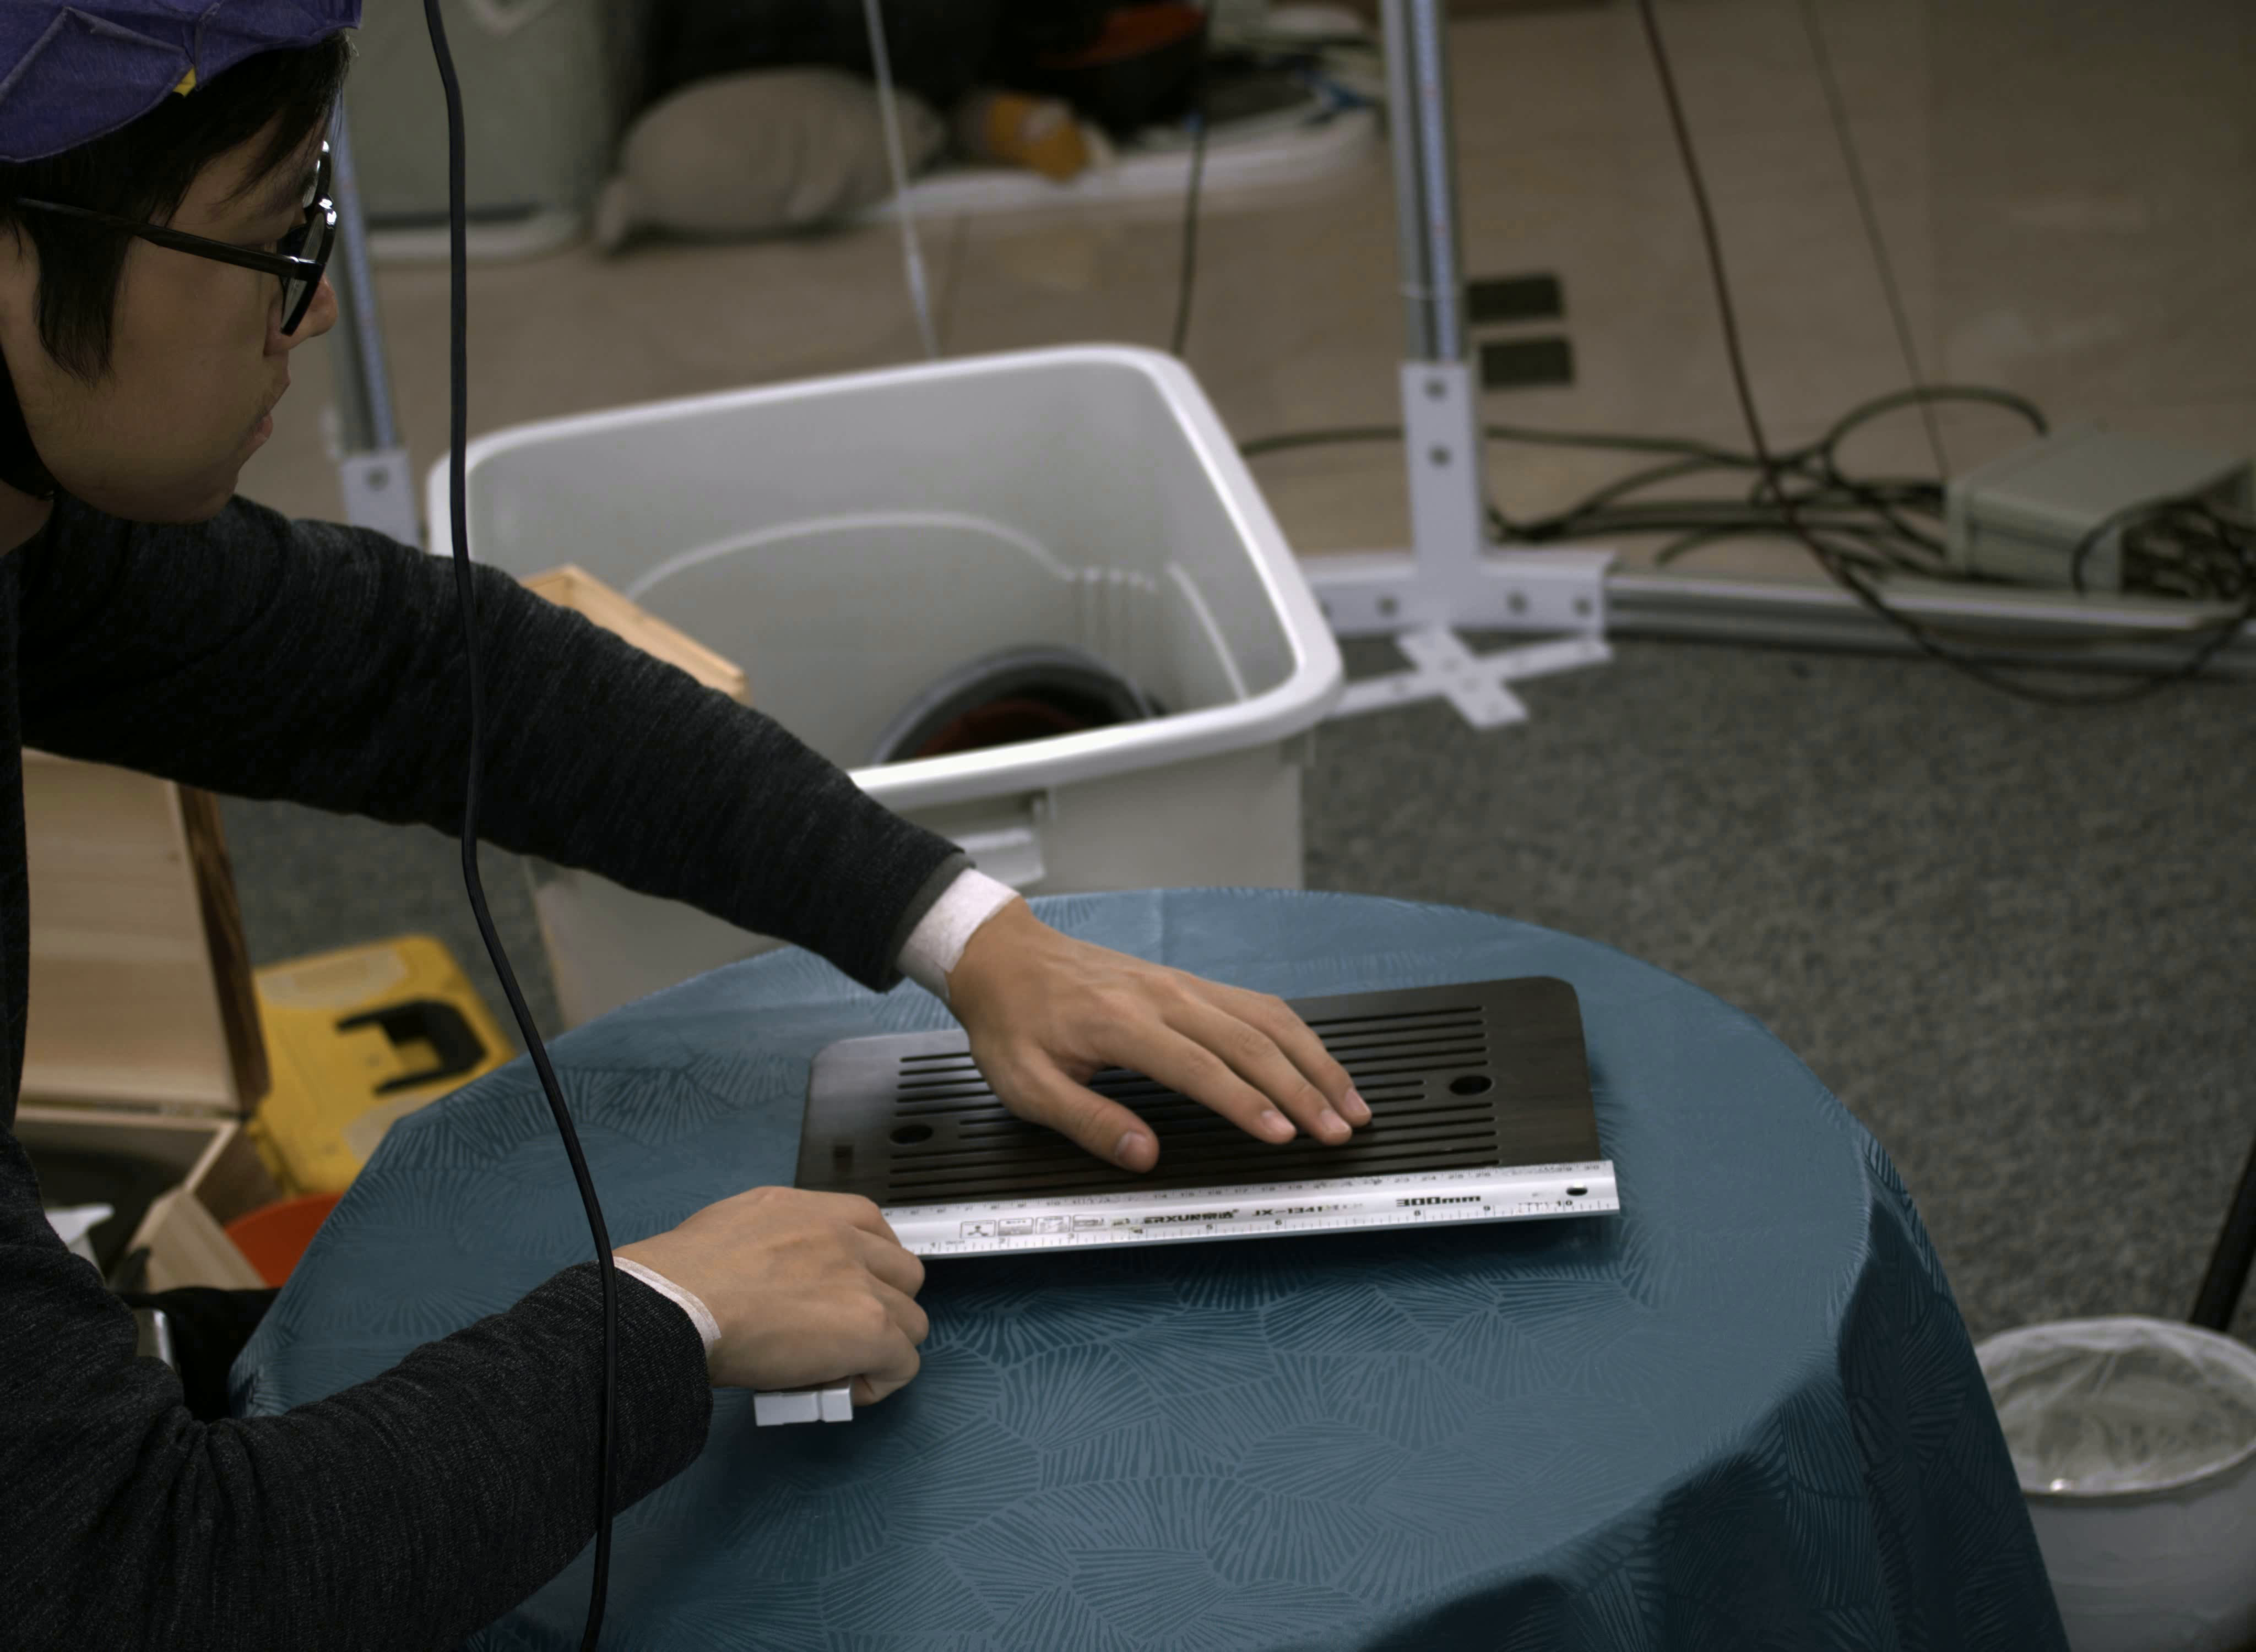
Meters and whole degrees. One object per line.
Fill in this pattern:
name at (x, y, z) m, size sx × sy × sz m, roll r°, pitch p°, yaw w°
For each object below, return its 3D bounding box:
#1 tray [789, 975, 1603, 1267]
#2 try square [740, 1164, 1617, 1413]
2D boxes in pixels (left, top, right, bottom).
tray at (0.026, 0.114, 2.175) m, size 0.305 × 0.019 × 0.167 m, roll -5°, pitch 25°, yaw 3°
try square at (0.021, 0.162, 2.033) m, size 0.312 × 0.016 × 0.150 m, roll -4°, pitch 21°, yaw 3°
